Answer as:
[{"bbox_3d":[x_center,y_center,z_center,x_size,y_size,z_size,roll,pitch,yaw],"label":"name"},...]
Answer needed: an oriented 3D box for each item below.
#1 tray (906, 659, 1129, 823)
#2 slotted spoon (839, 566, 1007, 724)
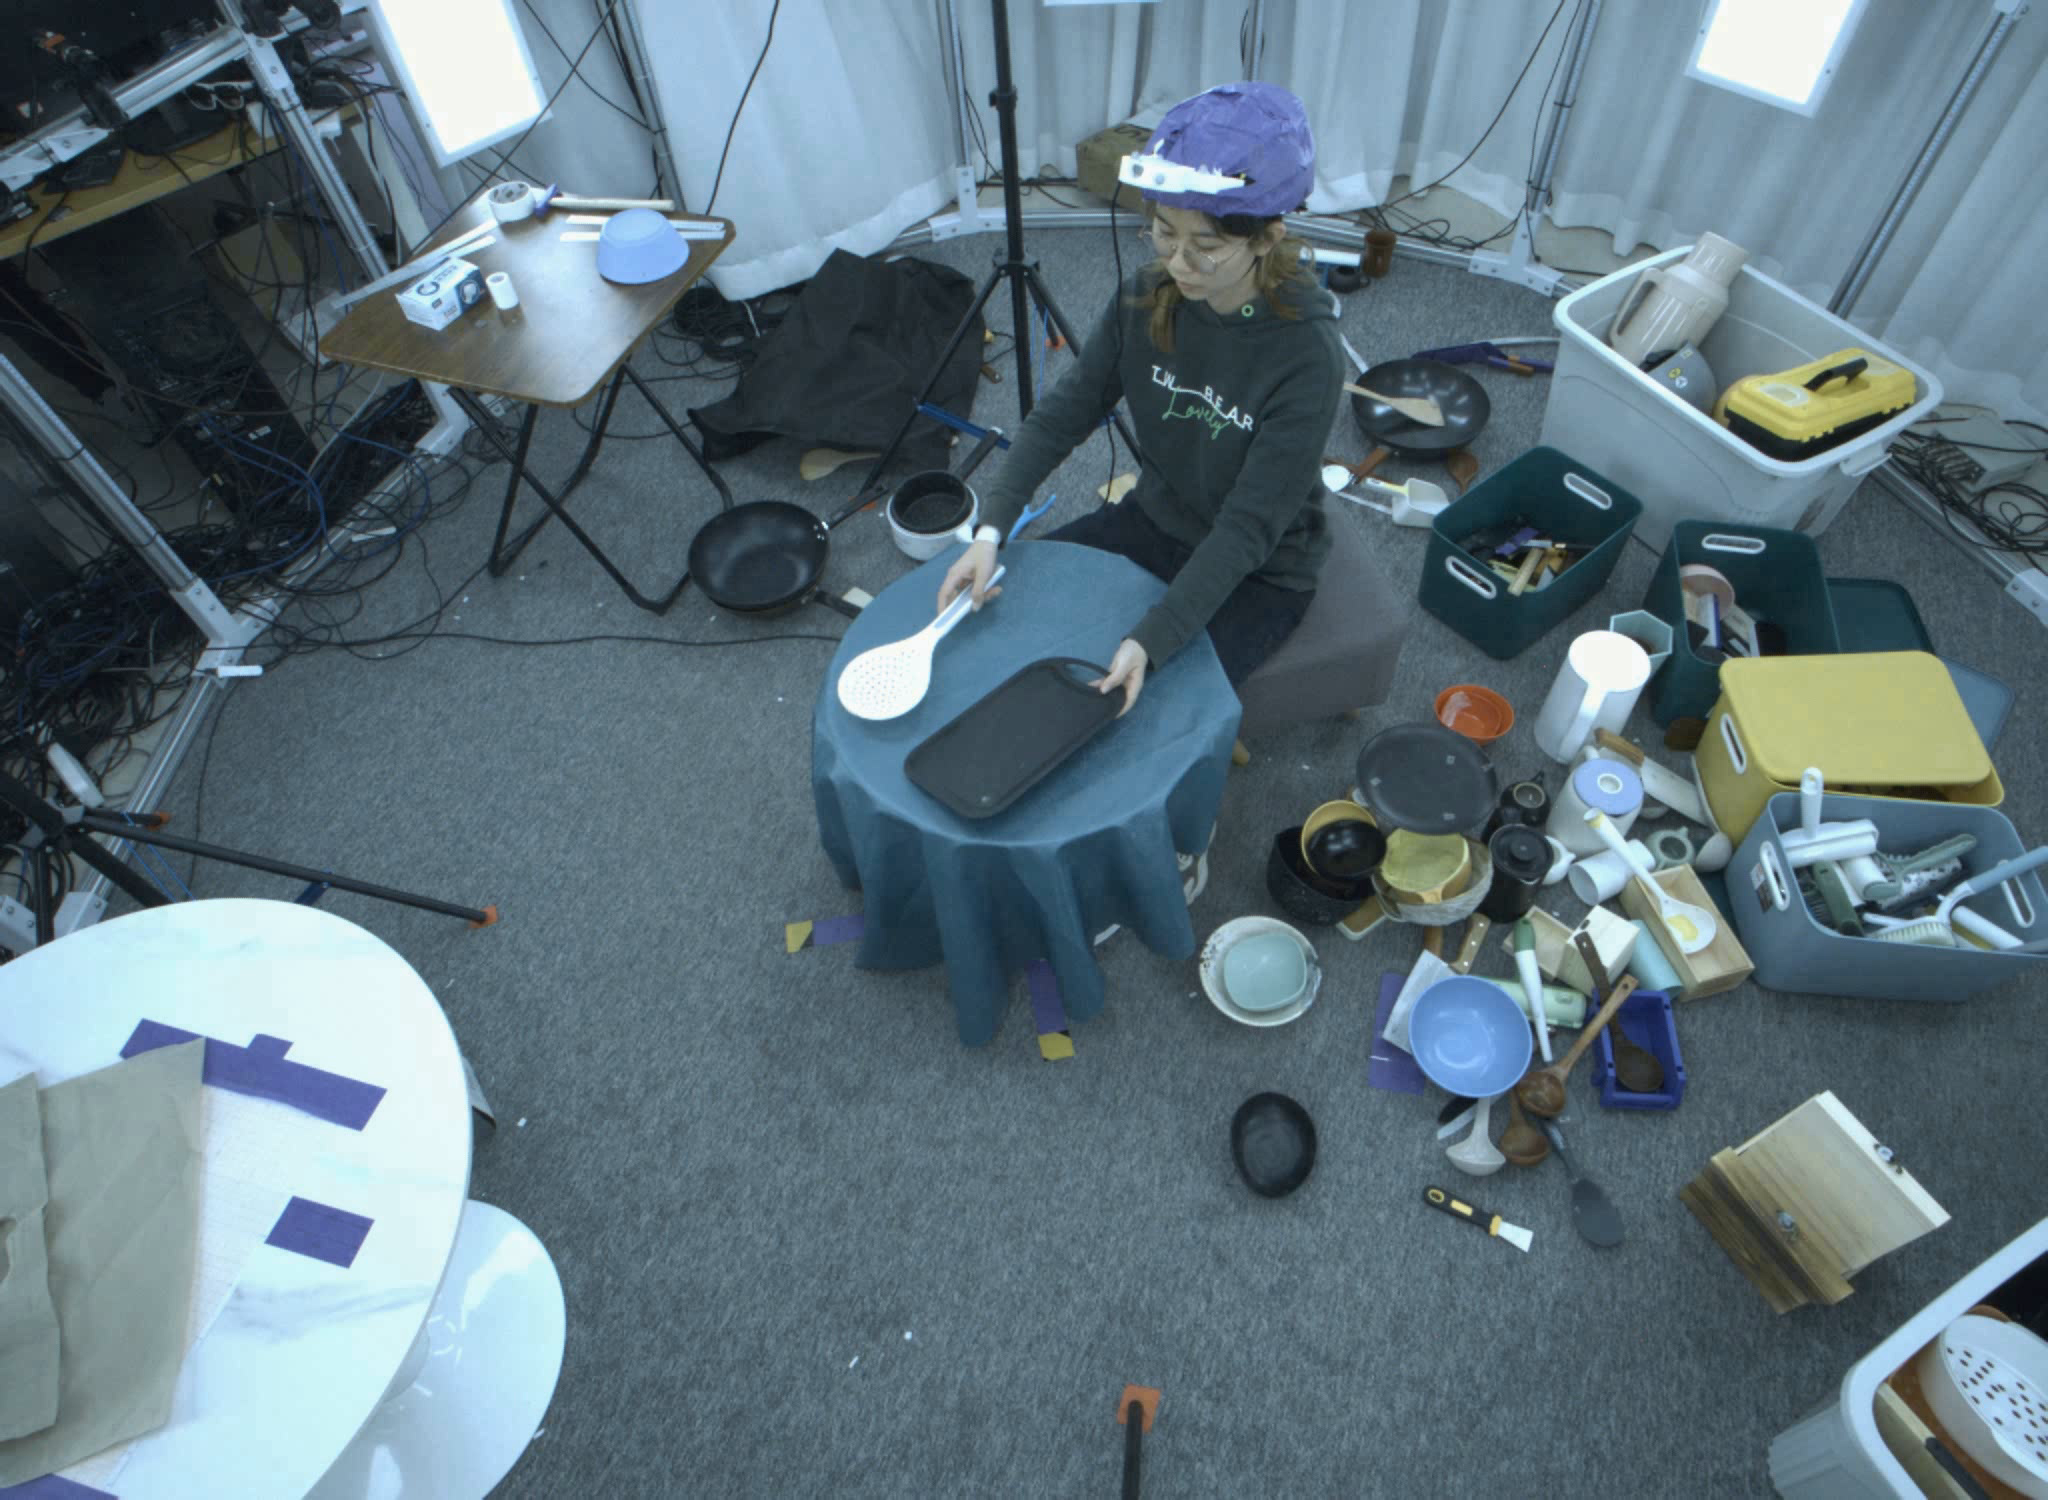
[{"bbox_3d":[-0.004,-0.026,1.778,0.328,0.010,0.206,-38,47,-22],"label":"tray"},{"bbox_3d":[-0.142,-0.165,1.870,0.134,0.046,0.351,30,68,22],"label":"slotted spoon"}]
